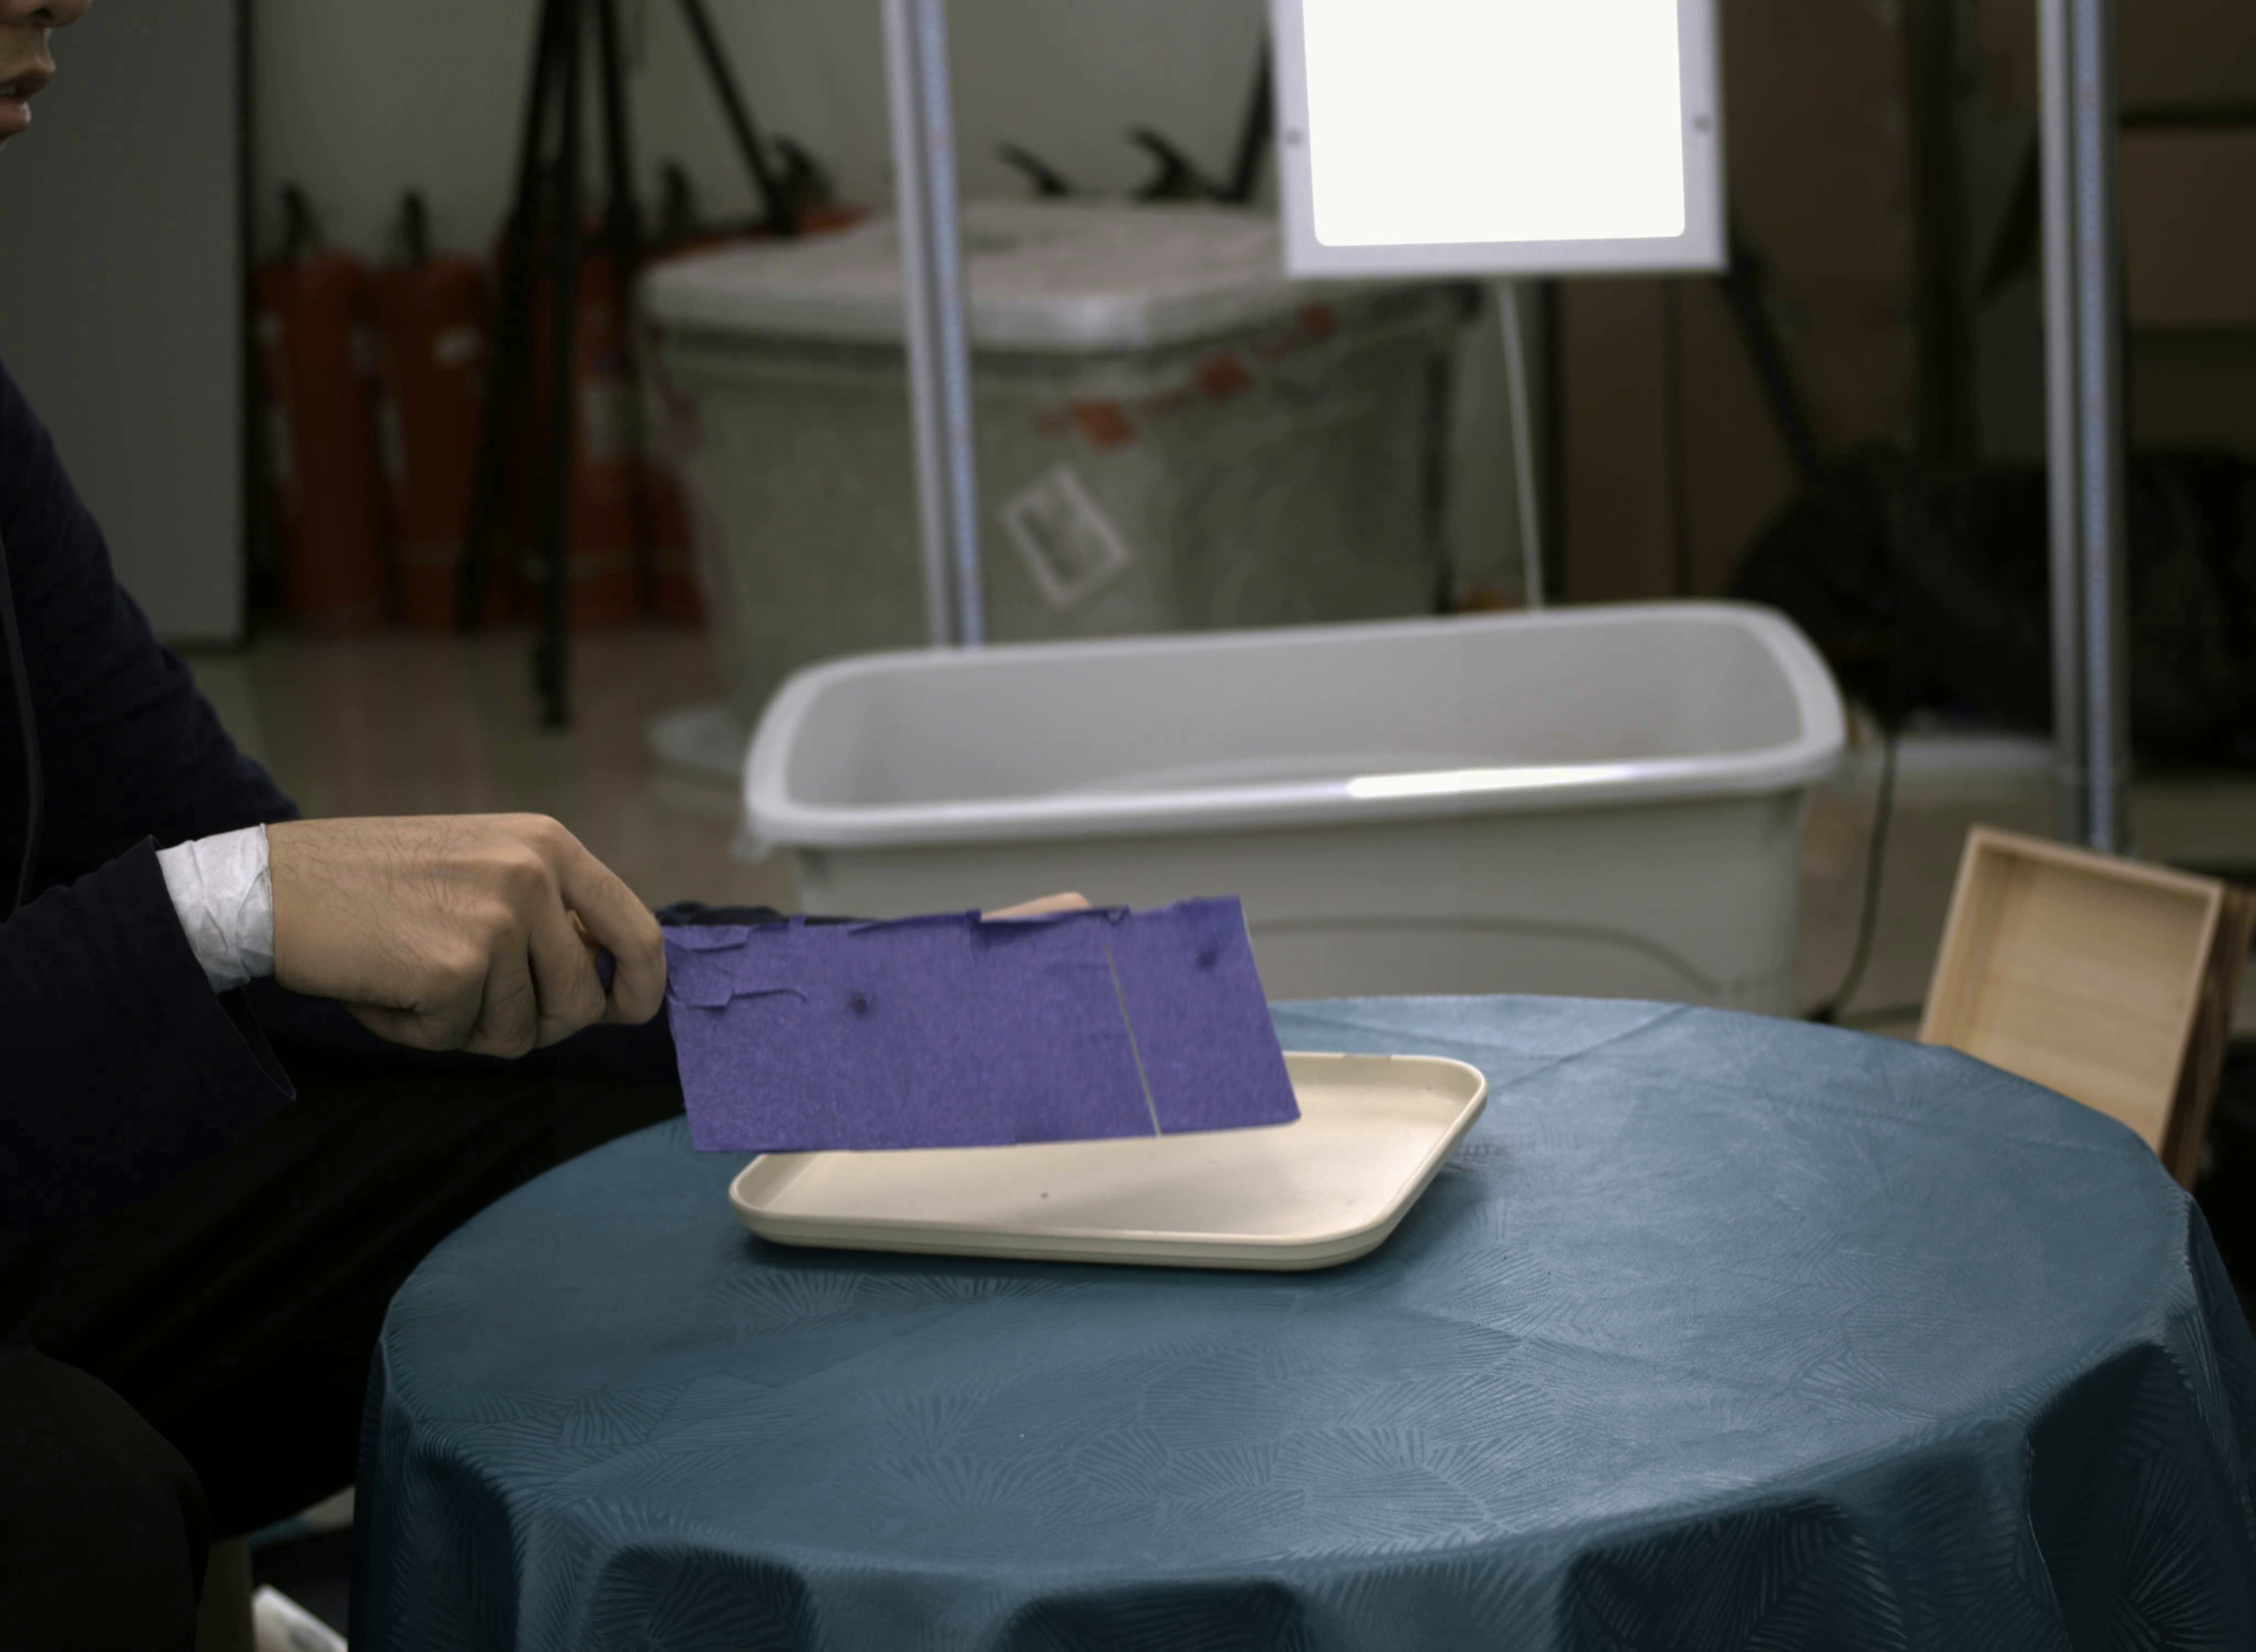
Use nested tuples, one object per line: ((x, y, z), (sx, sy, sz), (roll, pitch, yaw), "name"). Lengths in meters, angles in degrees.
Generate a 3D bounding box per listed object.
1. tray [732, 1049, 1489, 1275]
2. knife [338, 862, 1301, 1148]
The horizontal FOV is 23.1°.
((-0.004, 0.114, 1.898), (0.243, 0.017, 0.168), (1, 20, 22), "tray")
((-0.098, 0.062, 1.808), (0.311, 0.032, 0.104), (-5, 53, -12), "knife")
